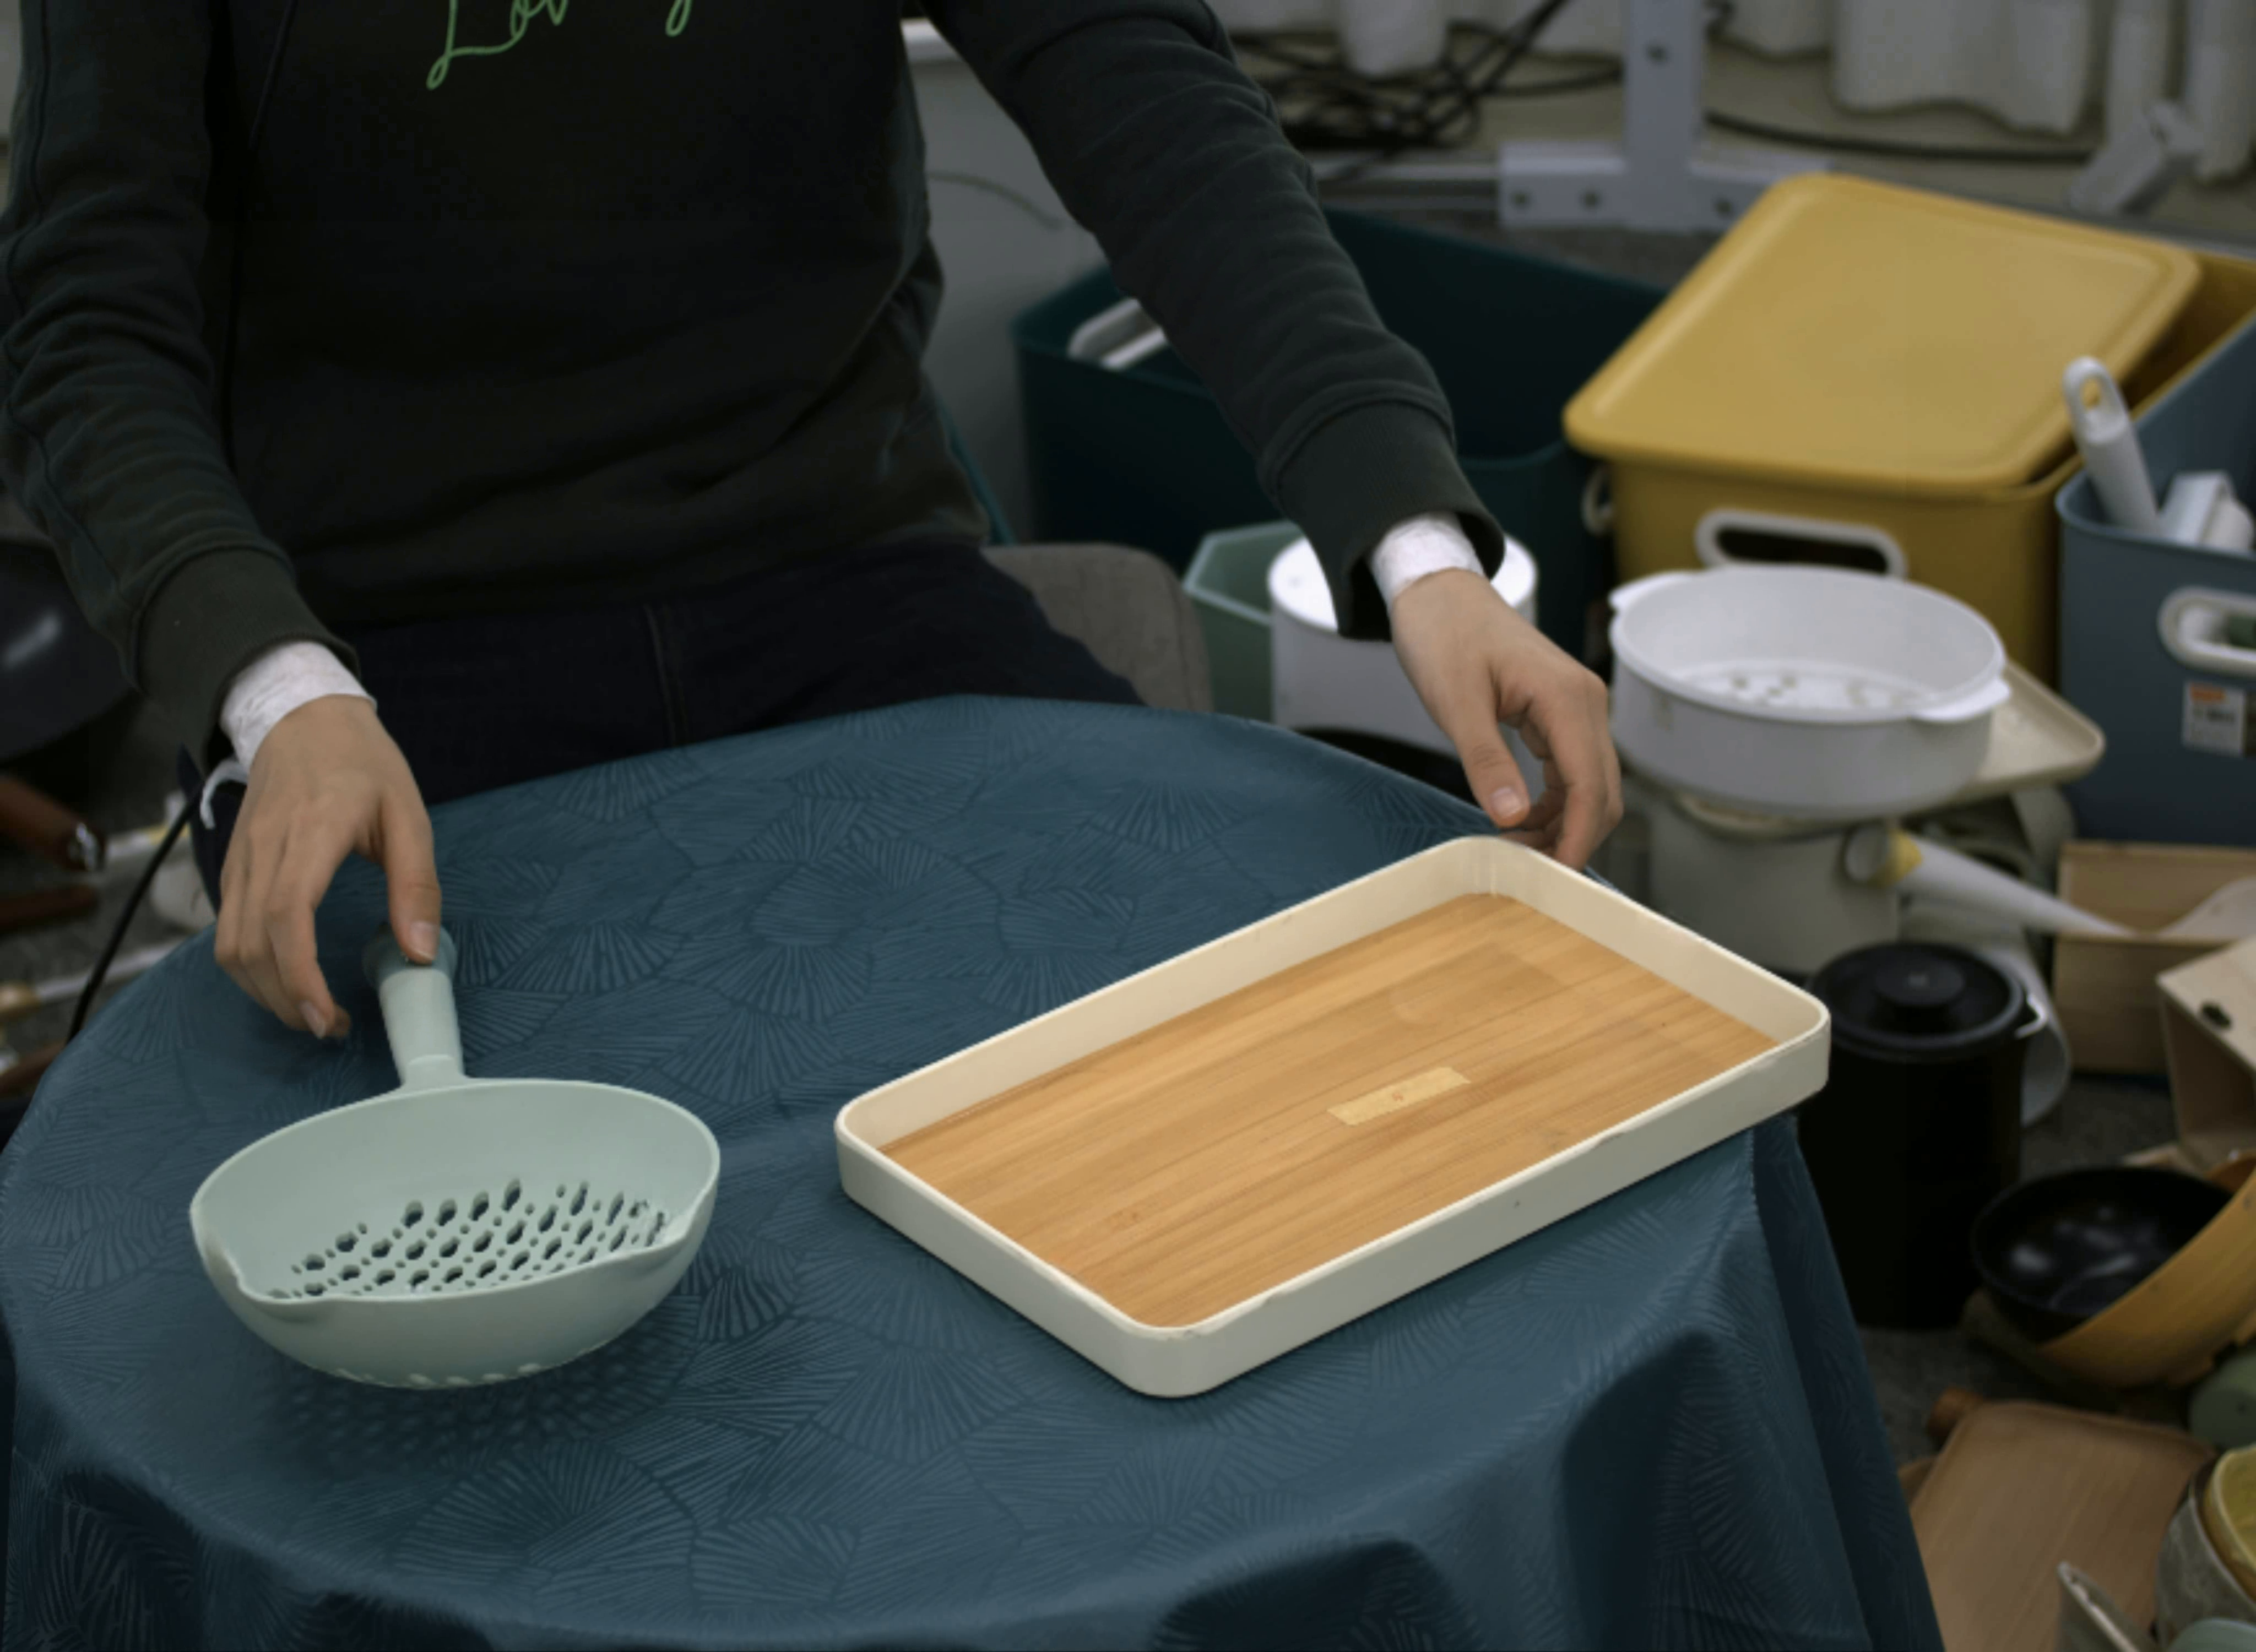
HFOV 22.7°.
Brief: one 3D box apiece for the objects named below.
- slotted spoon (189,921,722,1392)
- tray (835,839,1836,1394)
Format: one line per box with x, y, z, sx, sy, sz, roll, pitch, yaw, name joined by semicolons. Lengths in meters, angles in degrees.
-0.228;0.094;1.868;0.169;0.074;0.363;-7;27;-9;slotted spoon
0.071;0.092;1.884;0.303;0.027;0.192;-21;33;-32;tray
